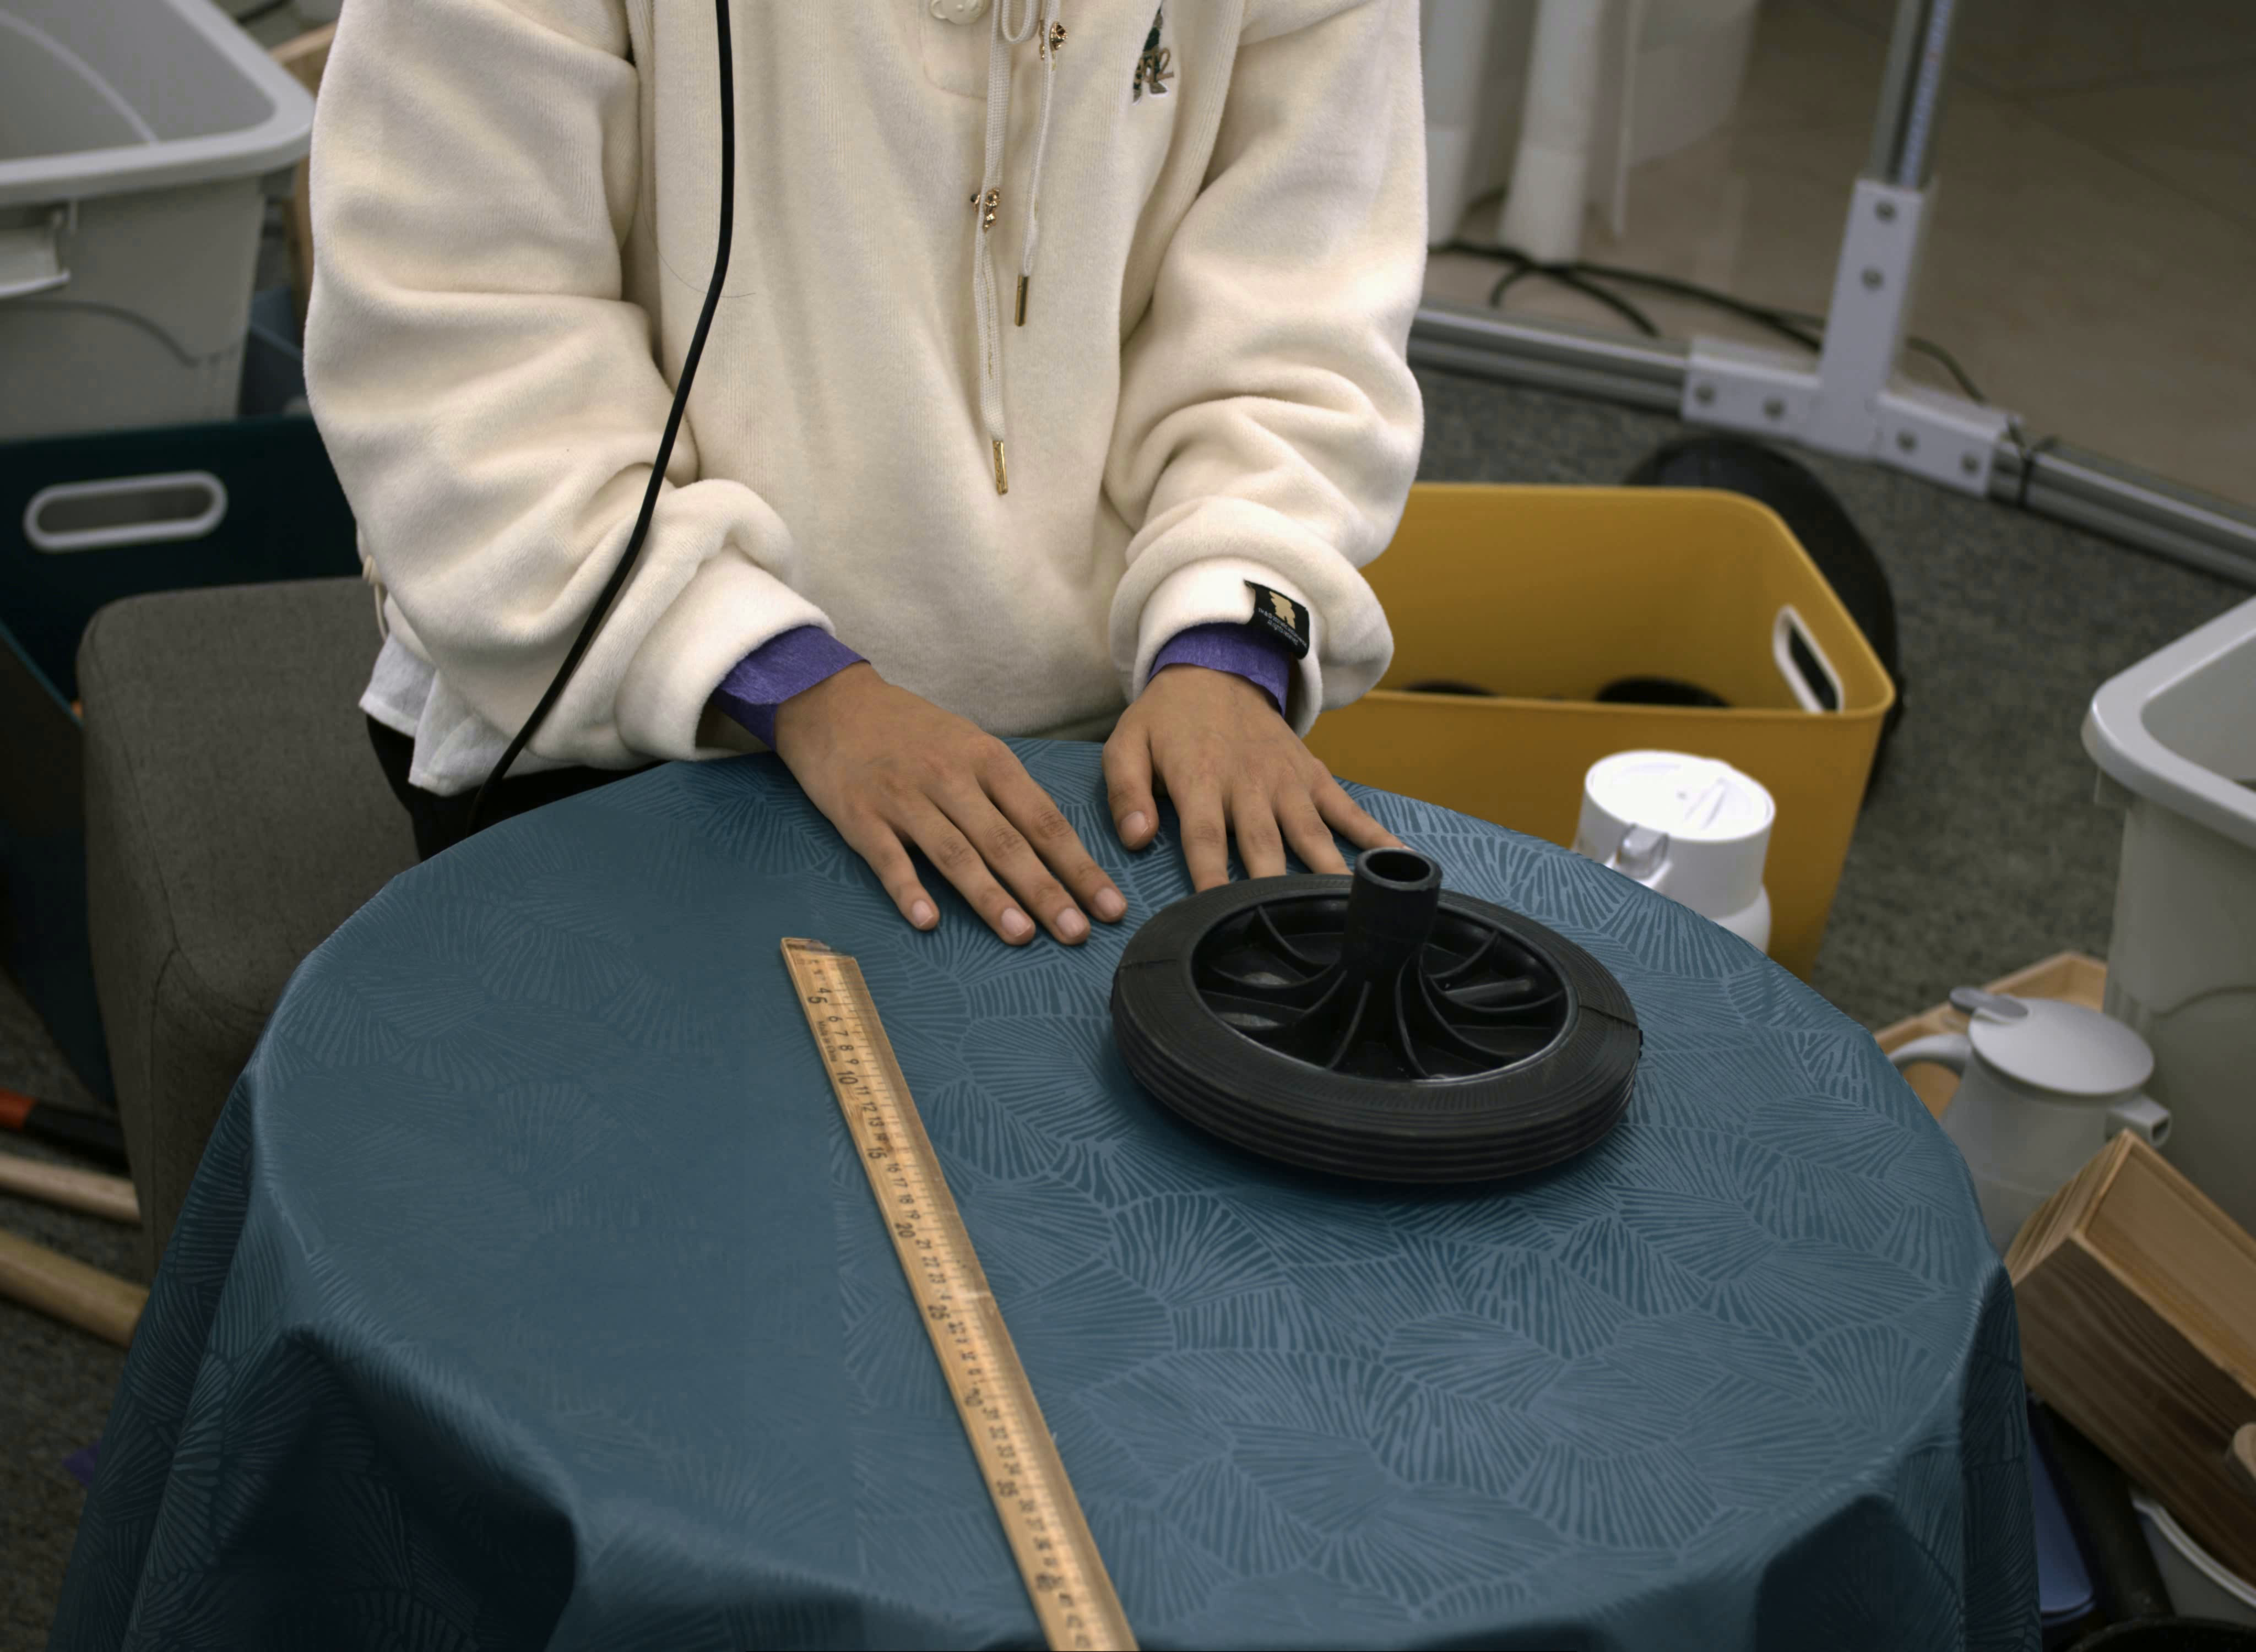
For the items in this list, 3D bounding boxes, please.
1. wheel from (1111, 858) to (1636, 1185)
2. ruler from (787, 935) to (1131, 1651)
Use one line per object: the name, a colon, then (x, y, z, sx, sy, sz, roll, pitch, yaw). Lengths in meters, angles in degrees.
wheel: (0.090, 0.053, 1.877, 0.188, 0.079, 0.189, 25, 31, 32)
ruler: (-0.055, 0.158, 1.717, 0.026, 0.006, 0.504, -2, 28, -14)
